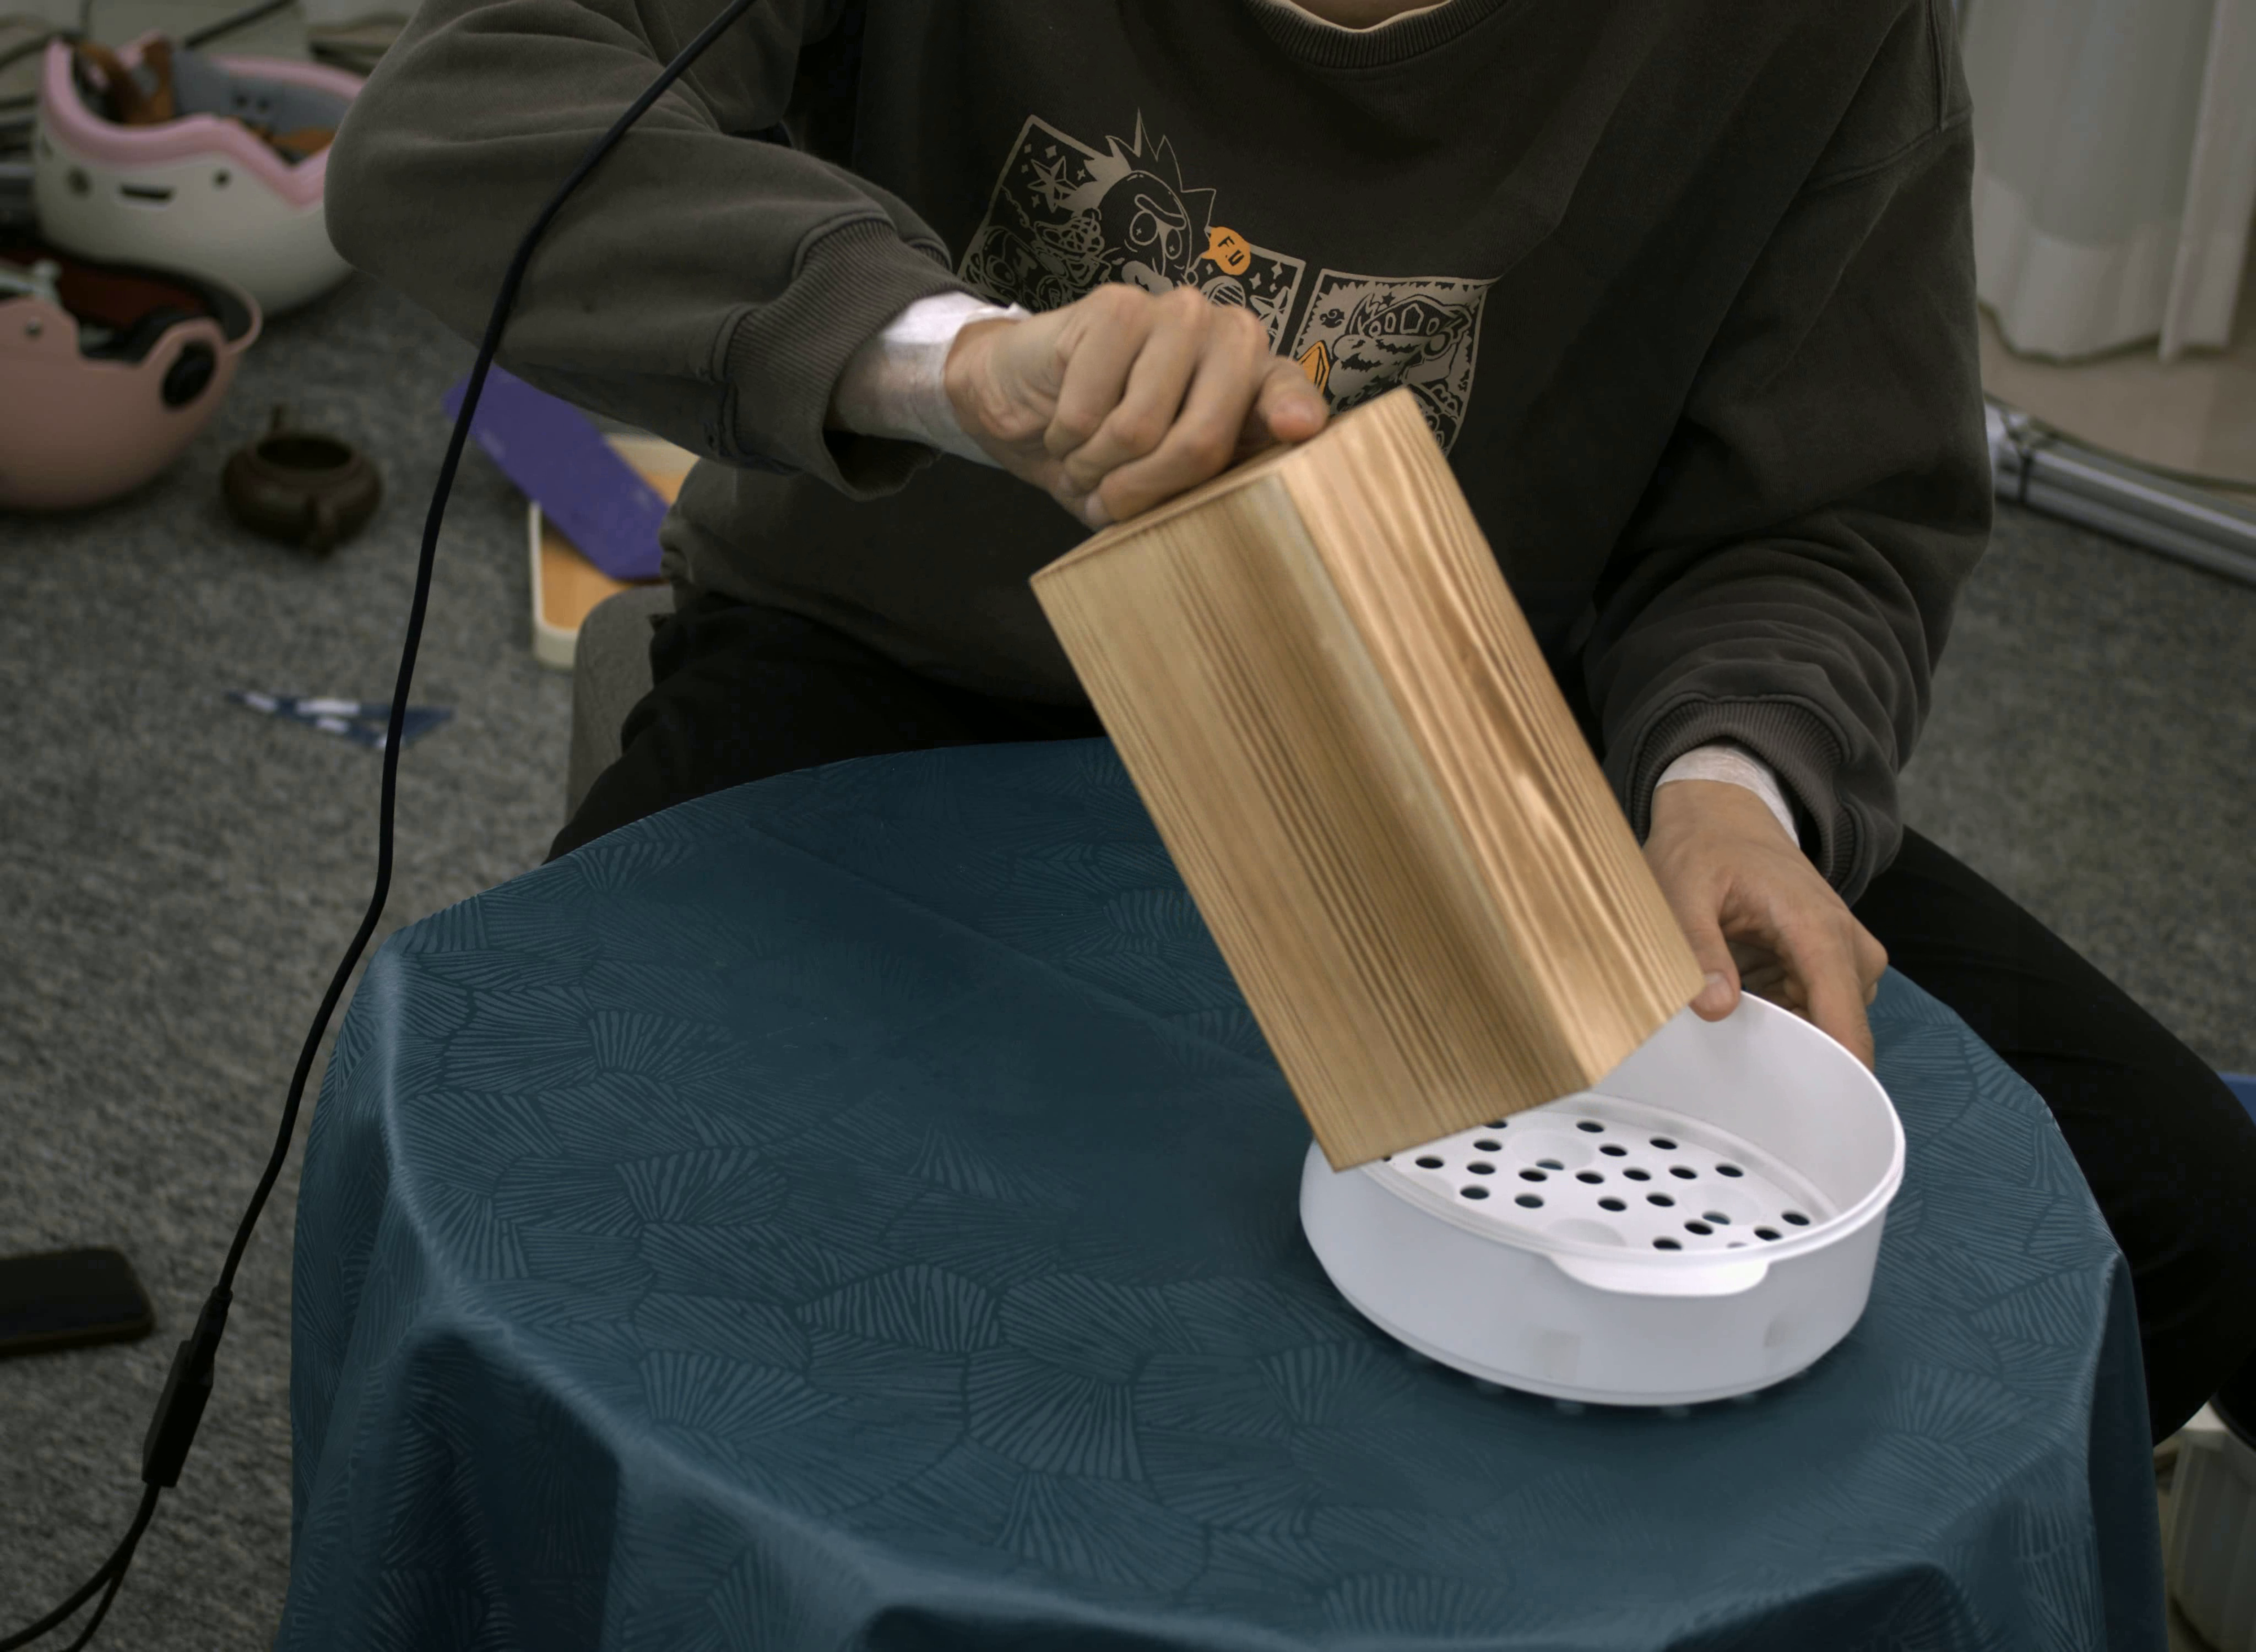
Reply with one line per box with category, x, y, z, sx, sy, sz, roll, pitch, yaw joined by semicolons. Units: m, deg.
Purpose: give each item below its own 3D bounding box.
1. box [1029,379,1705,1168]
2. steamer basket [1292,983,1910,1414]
box;0.073;-0.015;1.643;0.108;0.211;0.080;-23;6;40
steamer basket;0.155;0.120;1.769;0.201;0.069;0.232;3;26;-8
